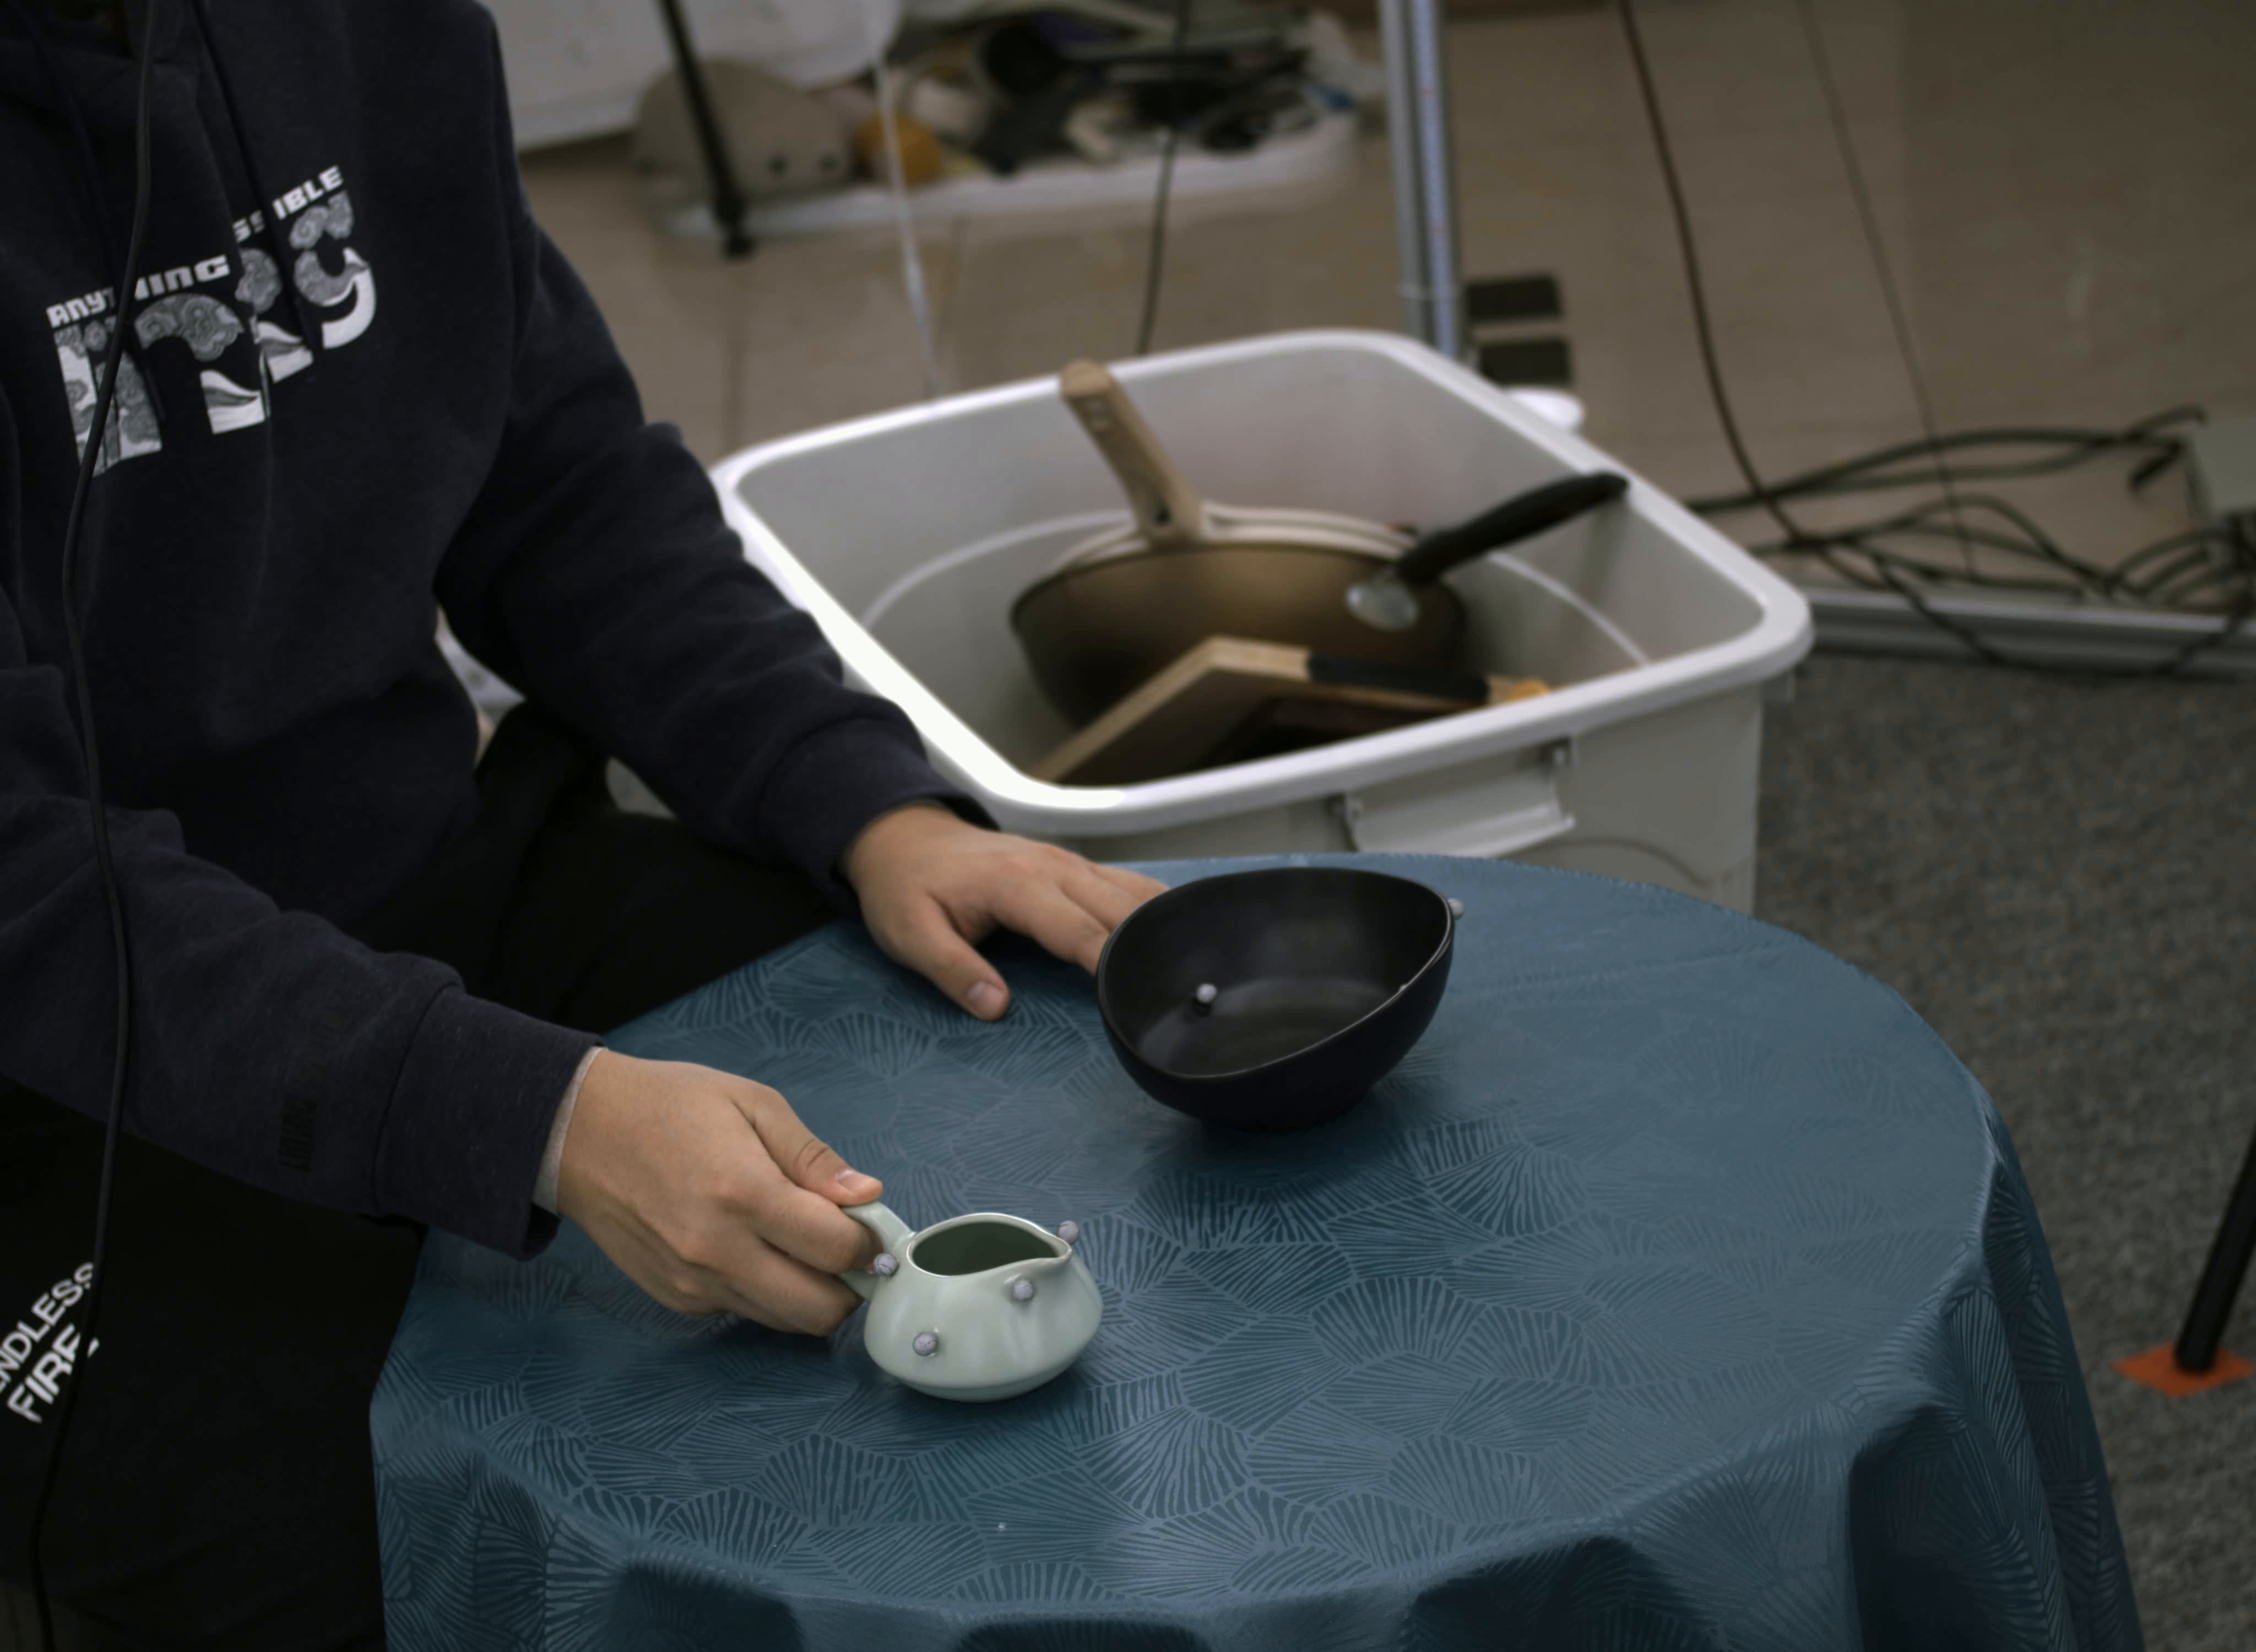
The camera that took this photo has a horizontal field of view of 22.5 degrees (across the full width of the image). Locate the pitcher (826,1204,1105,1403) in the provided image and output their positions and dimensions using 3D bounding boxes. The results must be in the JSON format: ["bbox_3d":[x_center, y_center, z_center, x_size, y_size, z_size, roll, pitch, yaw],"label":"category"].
[{"bbox_3d":[-0.062,0.168,2.032,0.107,0.061,0.085,7,27,30],"label":"pitcher"}]

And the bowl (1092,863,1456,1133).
[{"bbox_3d":[0.059,0.075,2.198,0.137,0.068,0.168,3,27,21],"label":"bowl"}]
